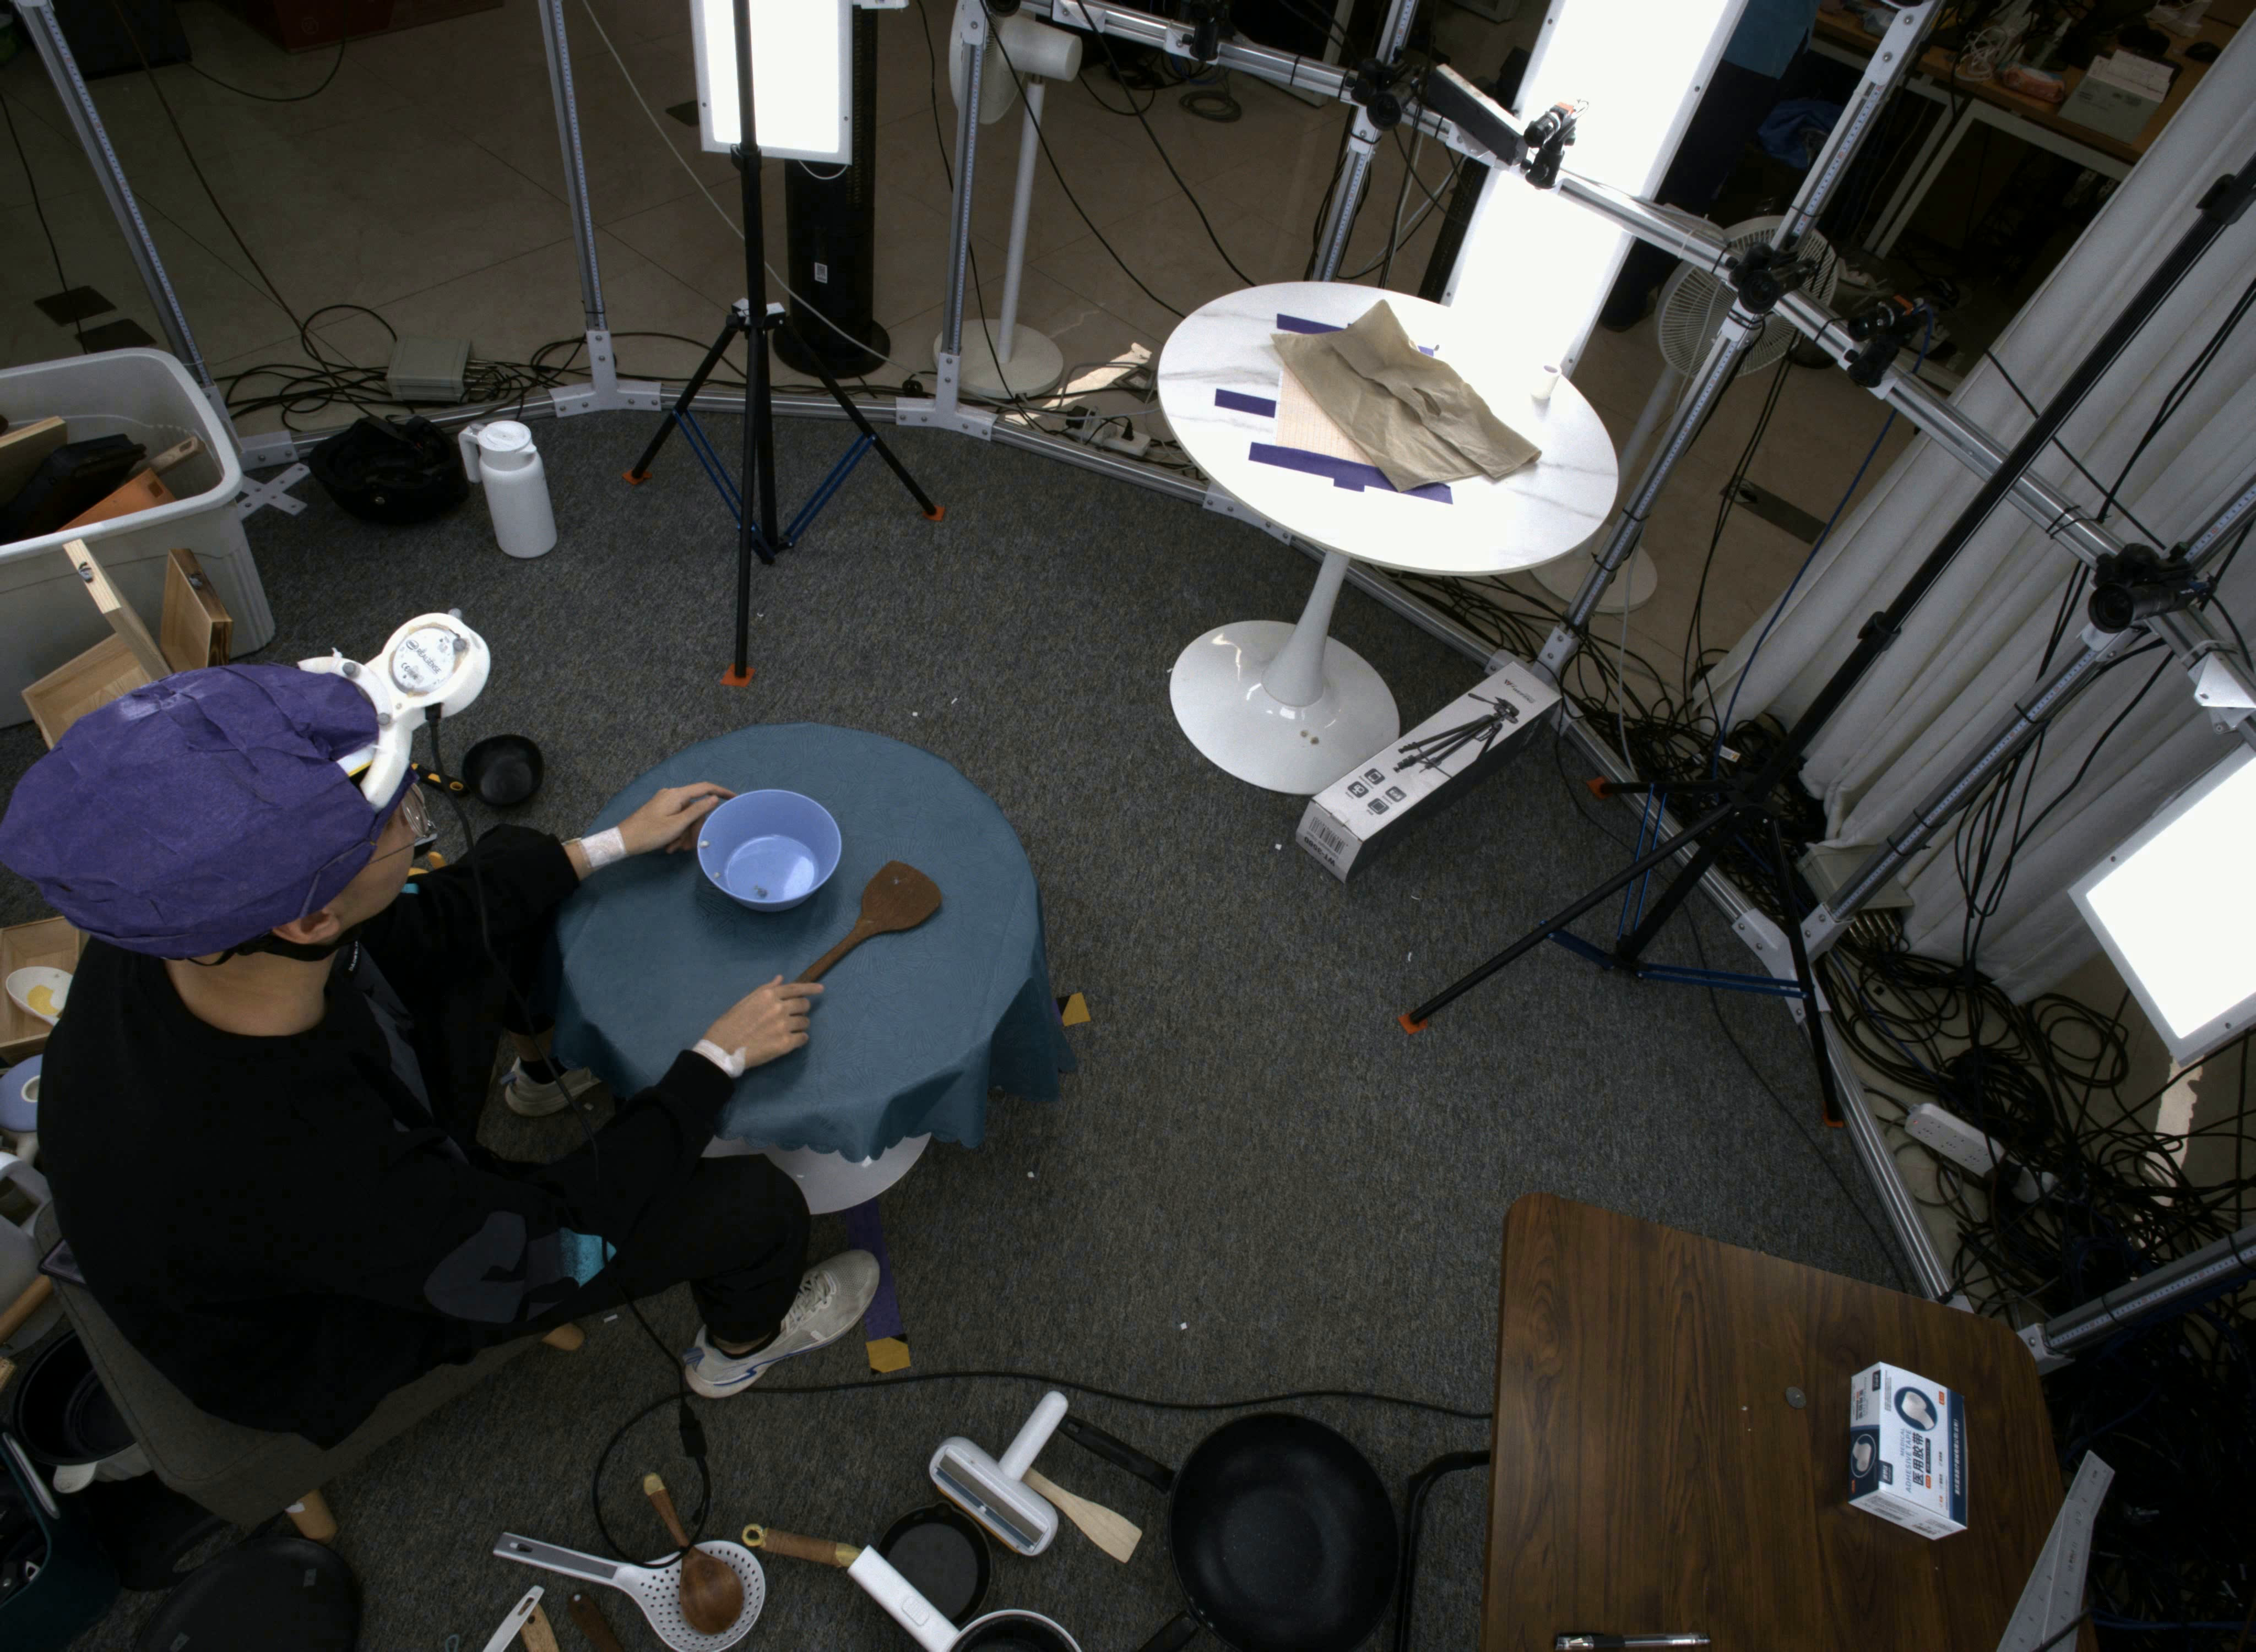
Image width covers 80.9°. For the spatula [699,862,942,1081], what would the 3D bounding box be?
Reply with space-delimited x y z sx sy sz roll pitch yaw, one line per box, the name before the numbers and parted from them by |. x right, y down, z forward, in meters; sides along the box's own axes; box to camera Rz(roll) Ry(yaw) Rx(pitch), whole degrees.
spatula | -0.381 0.175 1.601 0.094 0.016 0.386 36 54 14

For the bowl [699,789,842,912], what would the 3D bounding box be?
bowl | -0.452 0.041 1.646 0.175 0.072 0.173 7 53 -7
